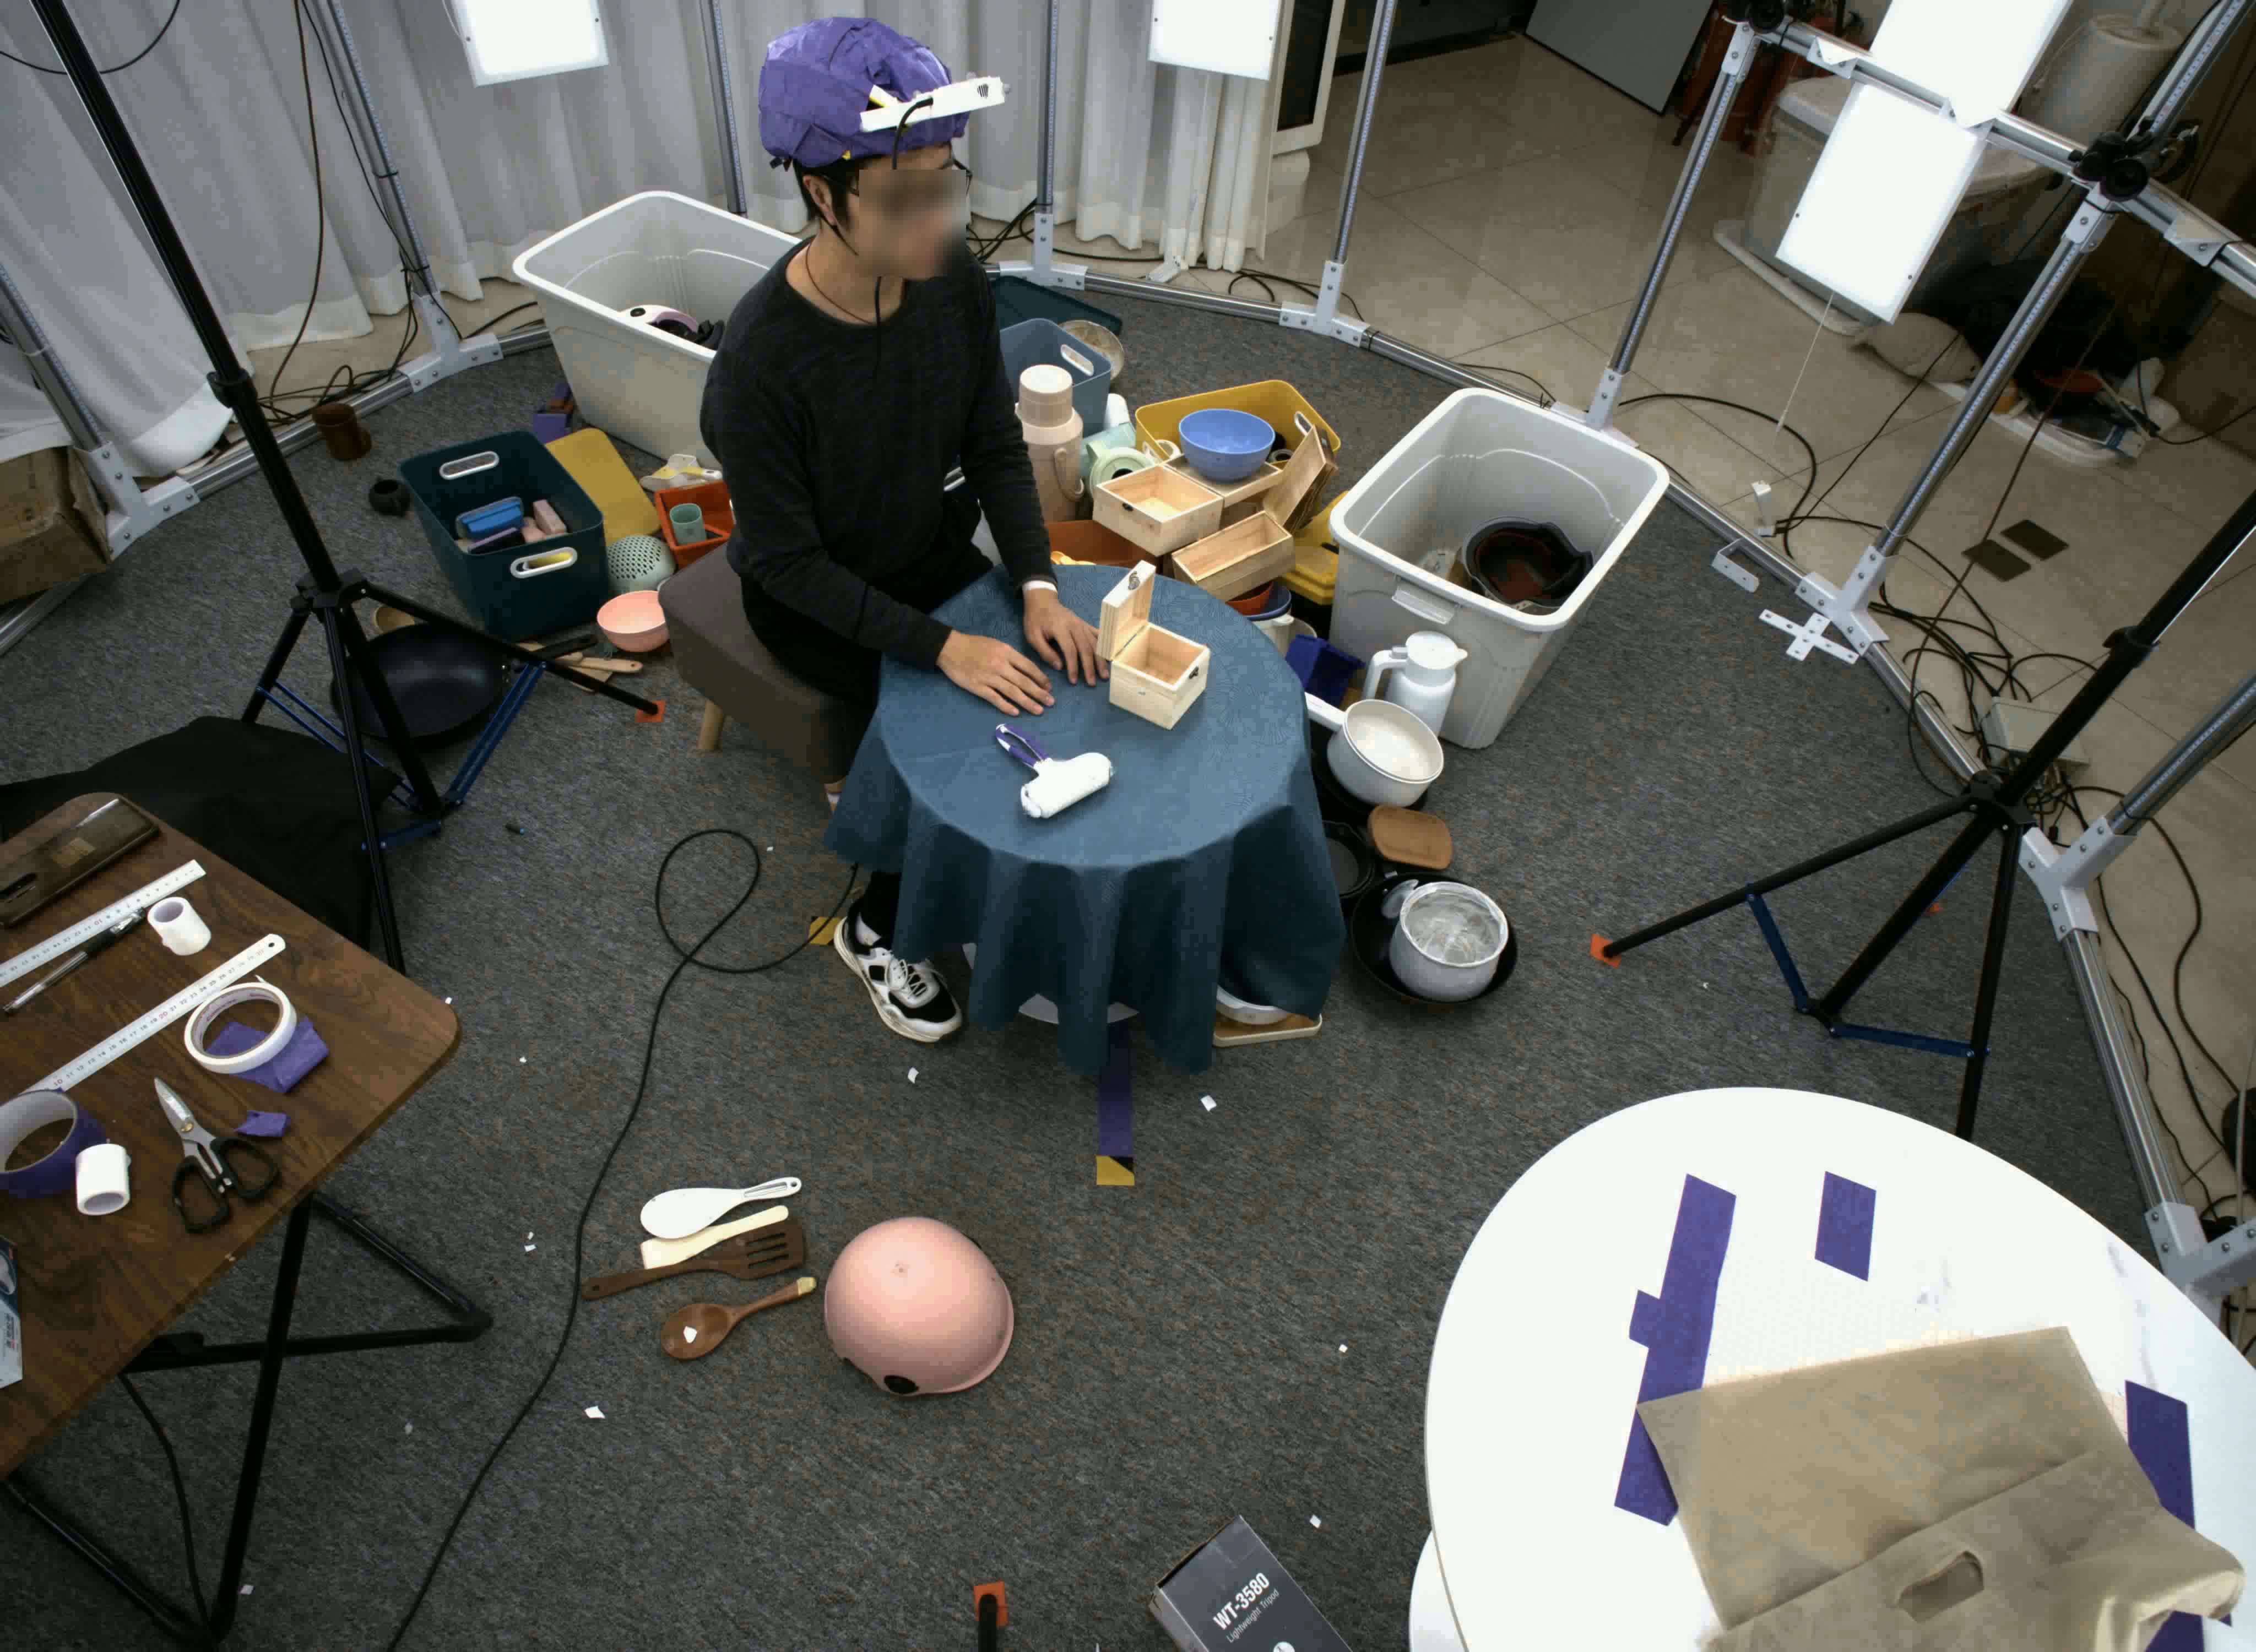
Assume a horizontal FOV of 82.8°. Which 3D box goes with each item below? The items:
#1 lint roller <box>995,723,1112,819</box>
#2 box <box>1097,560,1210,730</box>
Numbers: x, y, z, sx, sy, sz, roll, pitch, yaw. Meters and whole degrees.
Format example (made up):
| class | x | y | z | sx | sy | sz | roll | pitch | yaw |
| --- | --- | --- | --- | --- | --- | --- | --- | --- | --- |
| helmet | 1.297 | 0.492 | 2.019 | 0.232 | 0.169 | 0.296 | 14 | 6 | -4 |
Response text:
| class | x | y | z | sx | sy | sz | roll | pitch | yaw |
| --- | --- | --- | --- | --- | --- | --- | --- | --- | --- |
| lint roller | -0.118 | -0.094 | 1.713 | 0.133 | 0.049 | 0.184 | -29 | 58 | -24 |
| box | 0.039 | -0.249 | 1.771 | 0.135 | 0.180 | 0.104 | 26 | 52 | 18 |
